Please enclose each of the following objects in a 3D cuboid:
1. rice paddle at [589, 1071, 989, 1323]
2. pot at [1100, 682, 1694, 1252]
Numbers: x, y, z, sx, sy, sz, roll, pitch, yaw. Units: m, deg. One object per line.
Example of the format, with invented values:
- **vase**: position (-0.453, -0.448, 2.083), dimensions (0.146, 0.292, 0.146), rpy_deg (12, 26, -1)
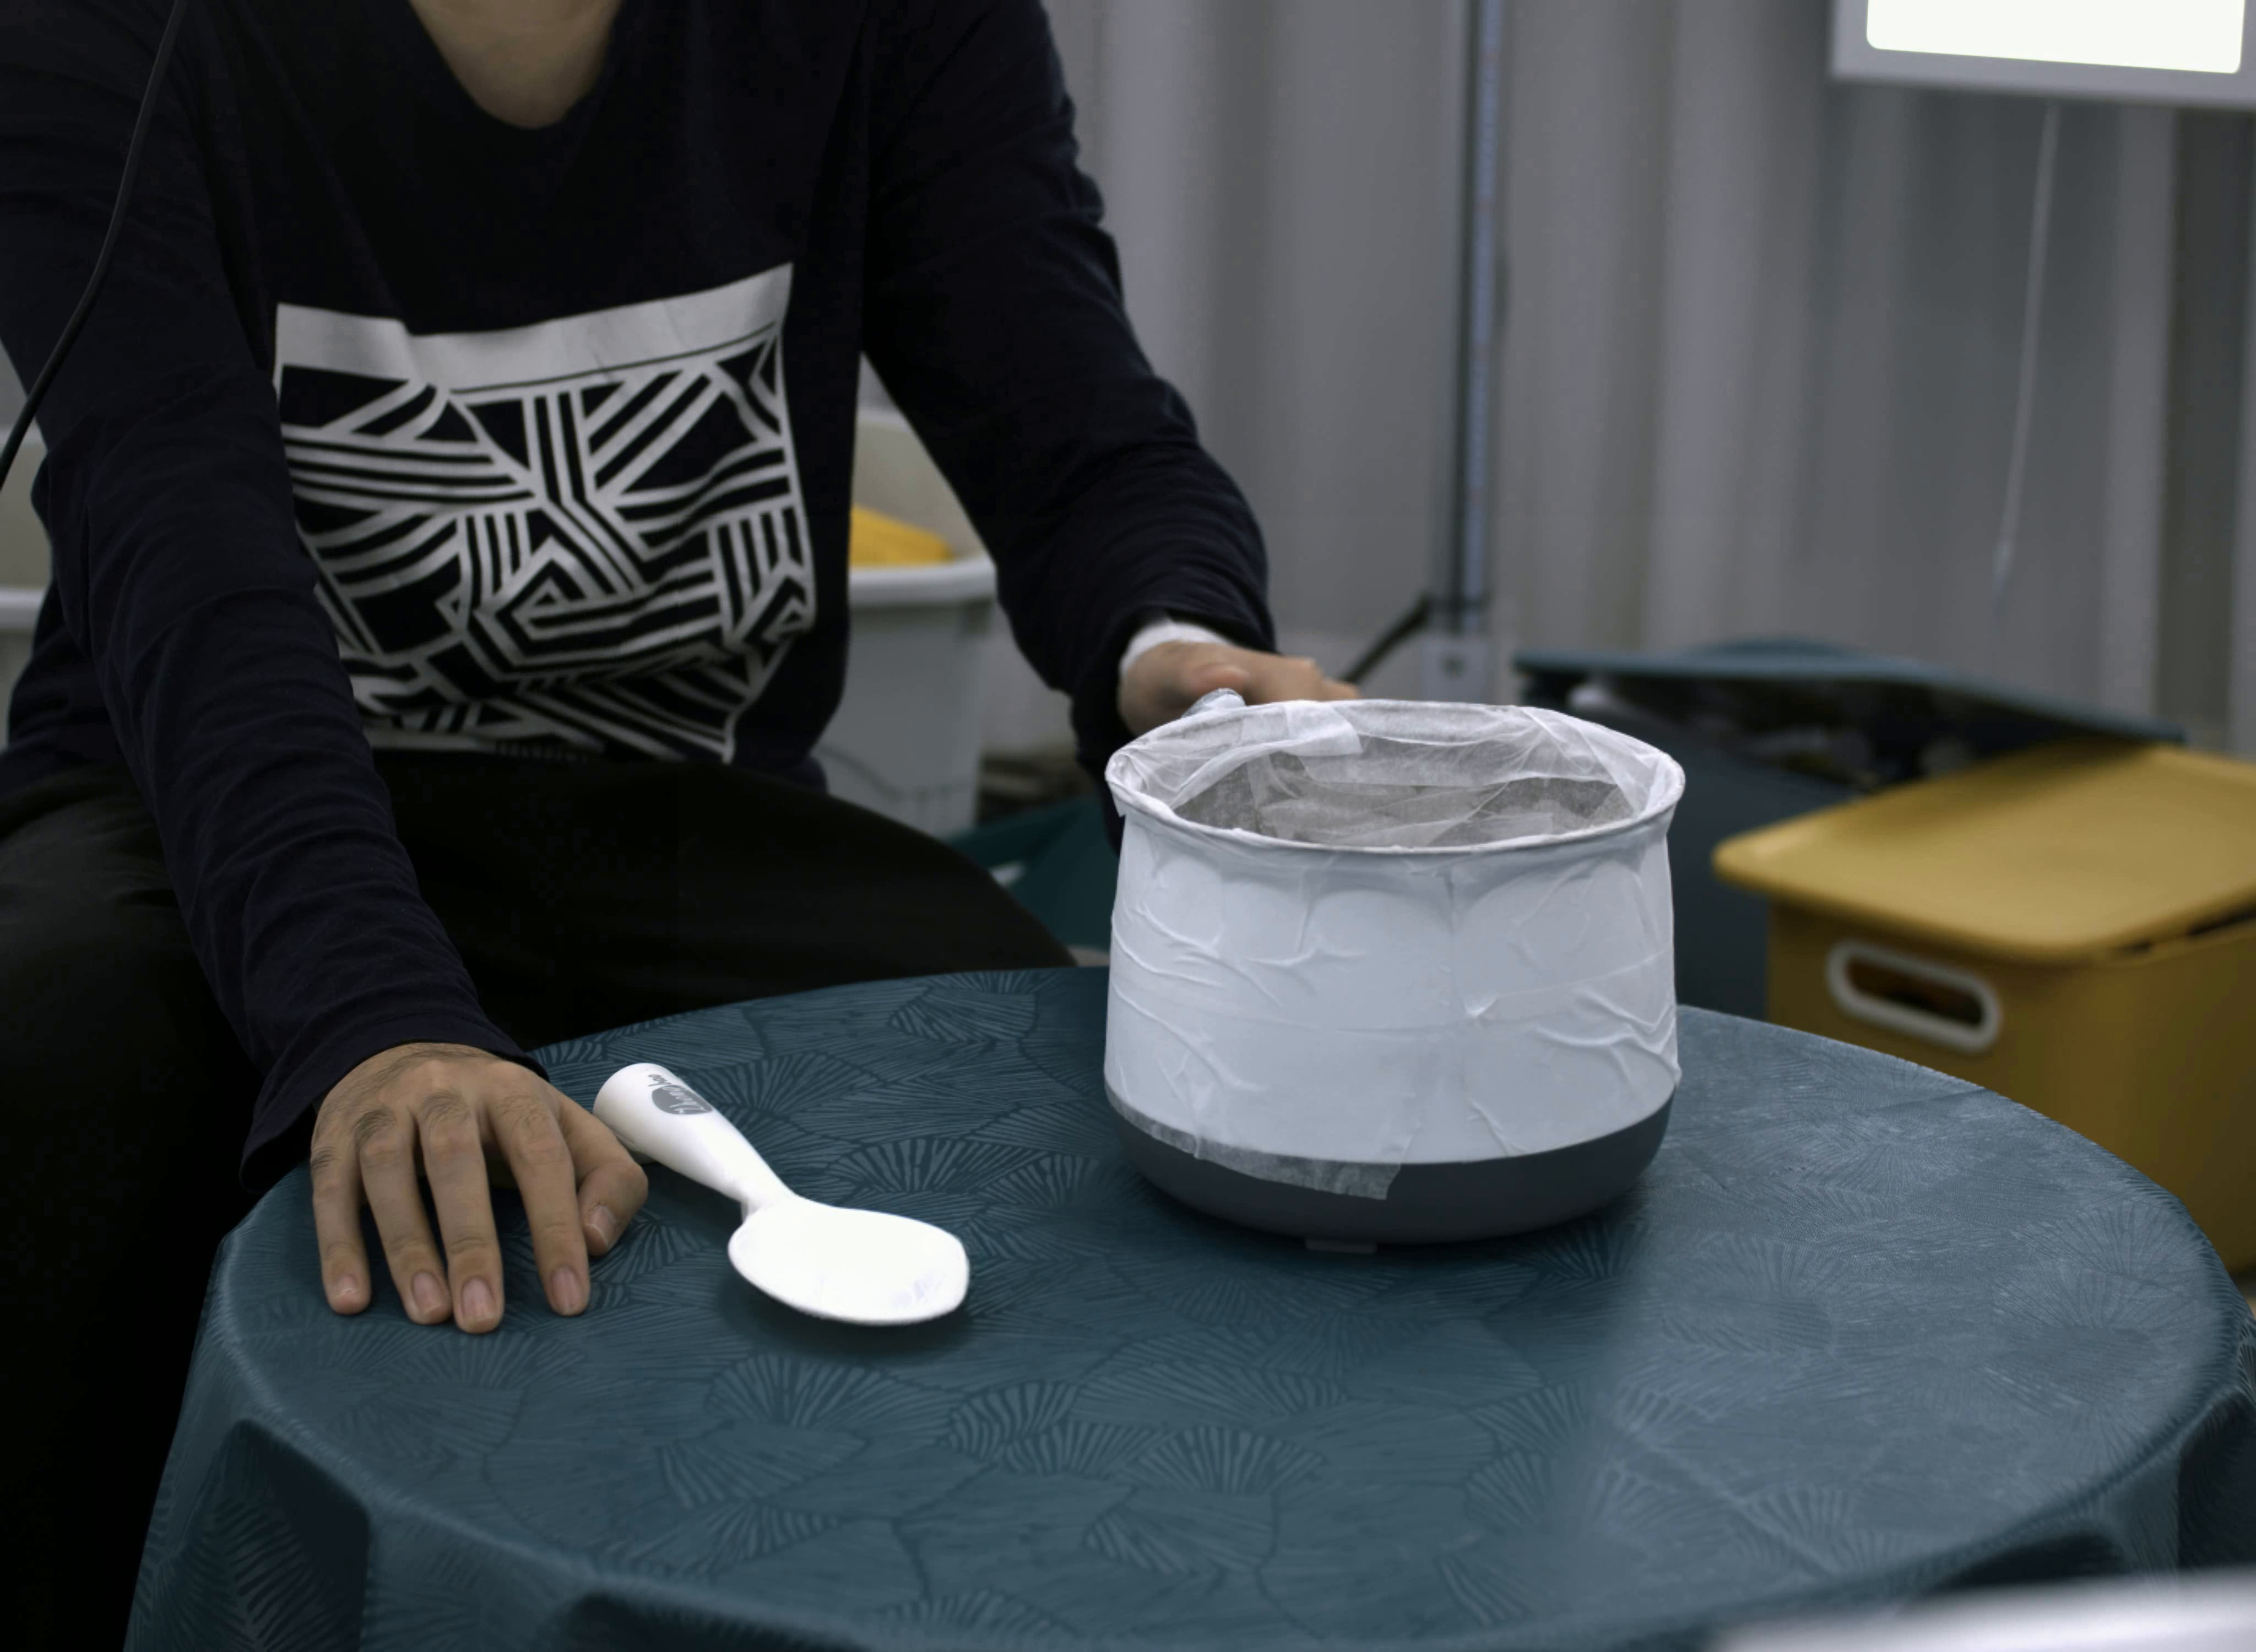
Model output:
- **rice paddle**: position (-0.105, 0.112, 1.569), dimensions (0.069, 0.029, 0.202), rpy_deg (-10, 17, -28)
- **pot**: position (0.066, 0.038, 1.639), dimensions (0.179, 0.137, 0.230), rpy_deg (-7, 18, -33)
